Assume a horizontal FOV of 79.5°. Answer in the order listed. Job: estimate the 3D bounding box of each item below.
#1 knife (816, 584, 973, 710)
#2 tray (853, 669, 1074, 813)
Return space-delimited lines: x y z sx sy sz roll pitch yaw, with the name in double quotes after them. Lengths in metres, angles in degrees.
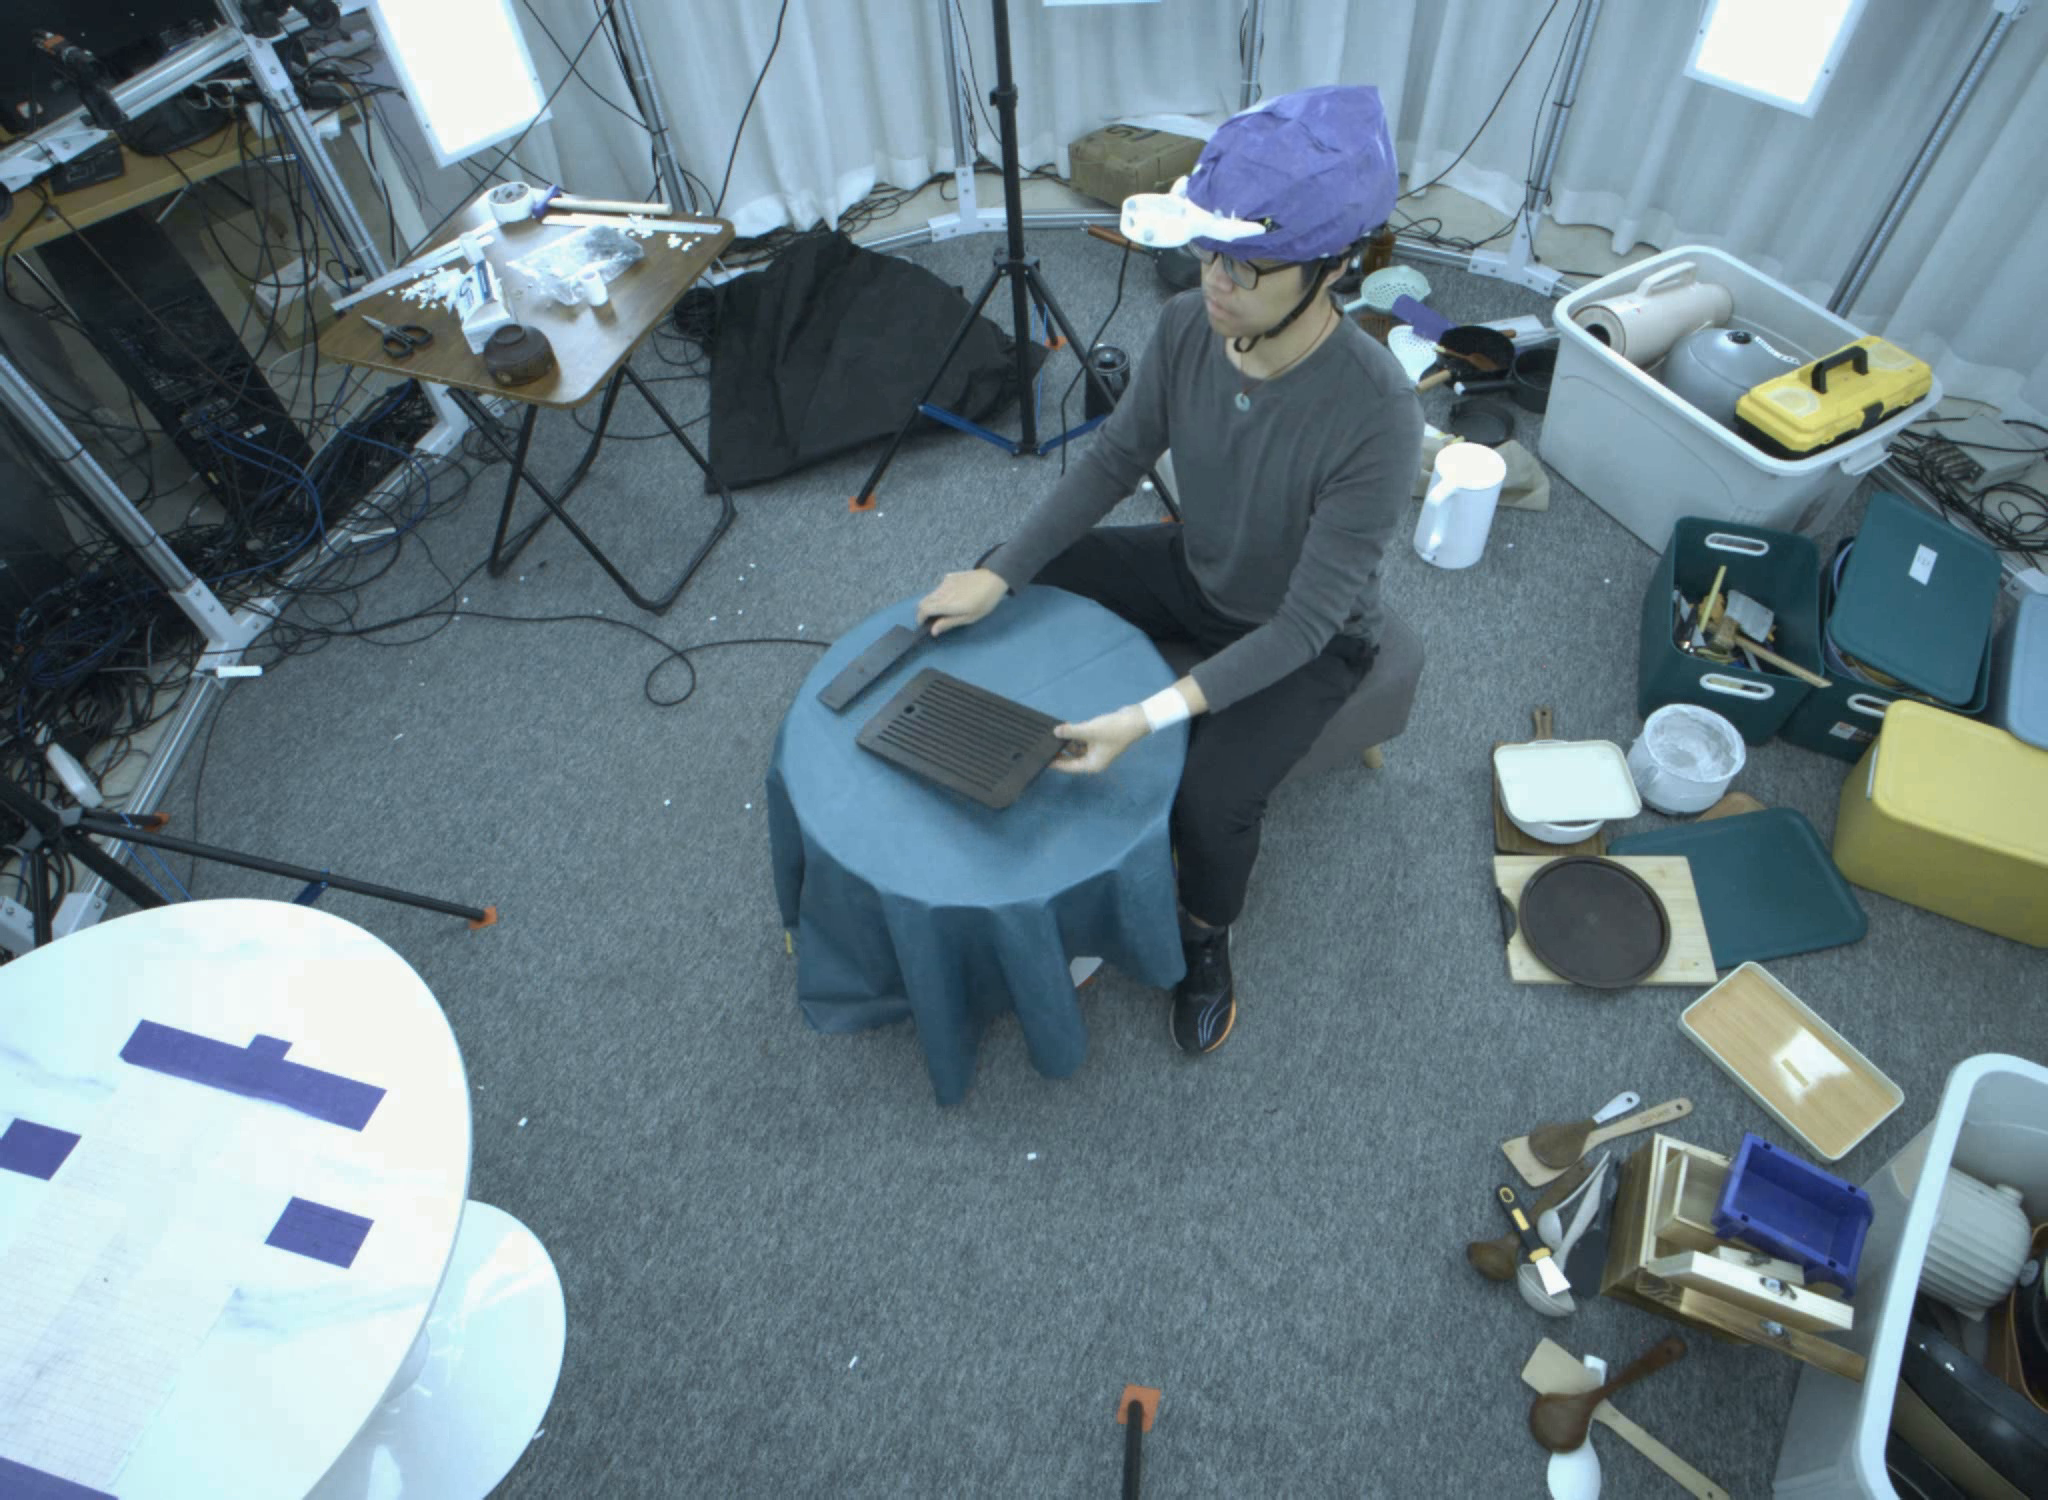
-0.195 -0.165 1.899 0.304 0.021 0.079 -40 50 -19 "knife"
-0.090 -0.016 1.758 0.299 0.019 0.171 24 59 34 "tray"
